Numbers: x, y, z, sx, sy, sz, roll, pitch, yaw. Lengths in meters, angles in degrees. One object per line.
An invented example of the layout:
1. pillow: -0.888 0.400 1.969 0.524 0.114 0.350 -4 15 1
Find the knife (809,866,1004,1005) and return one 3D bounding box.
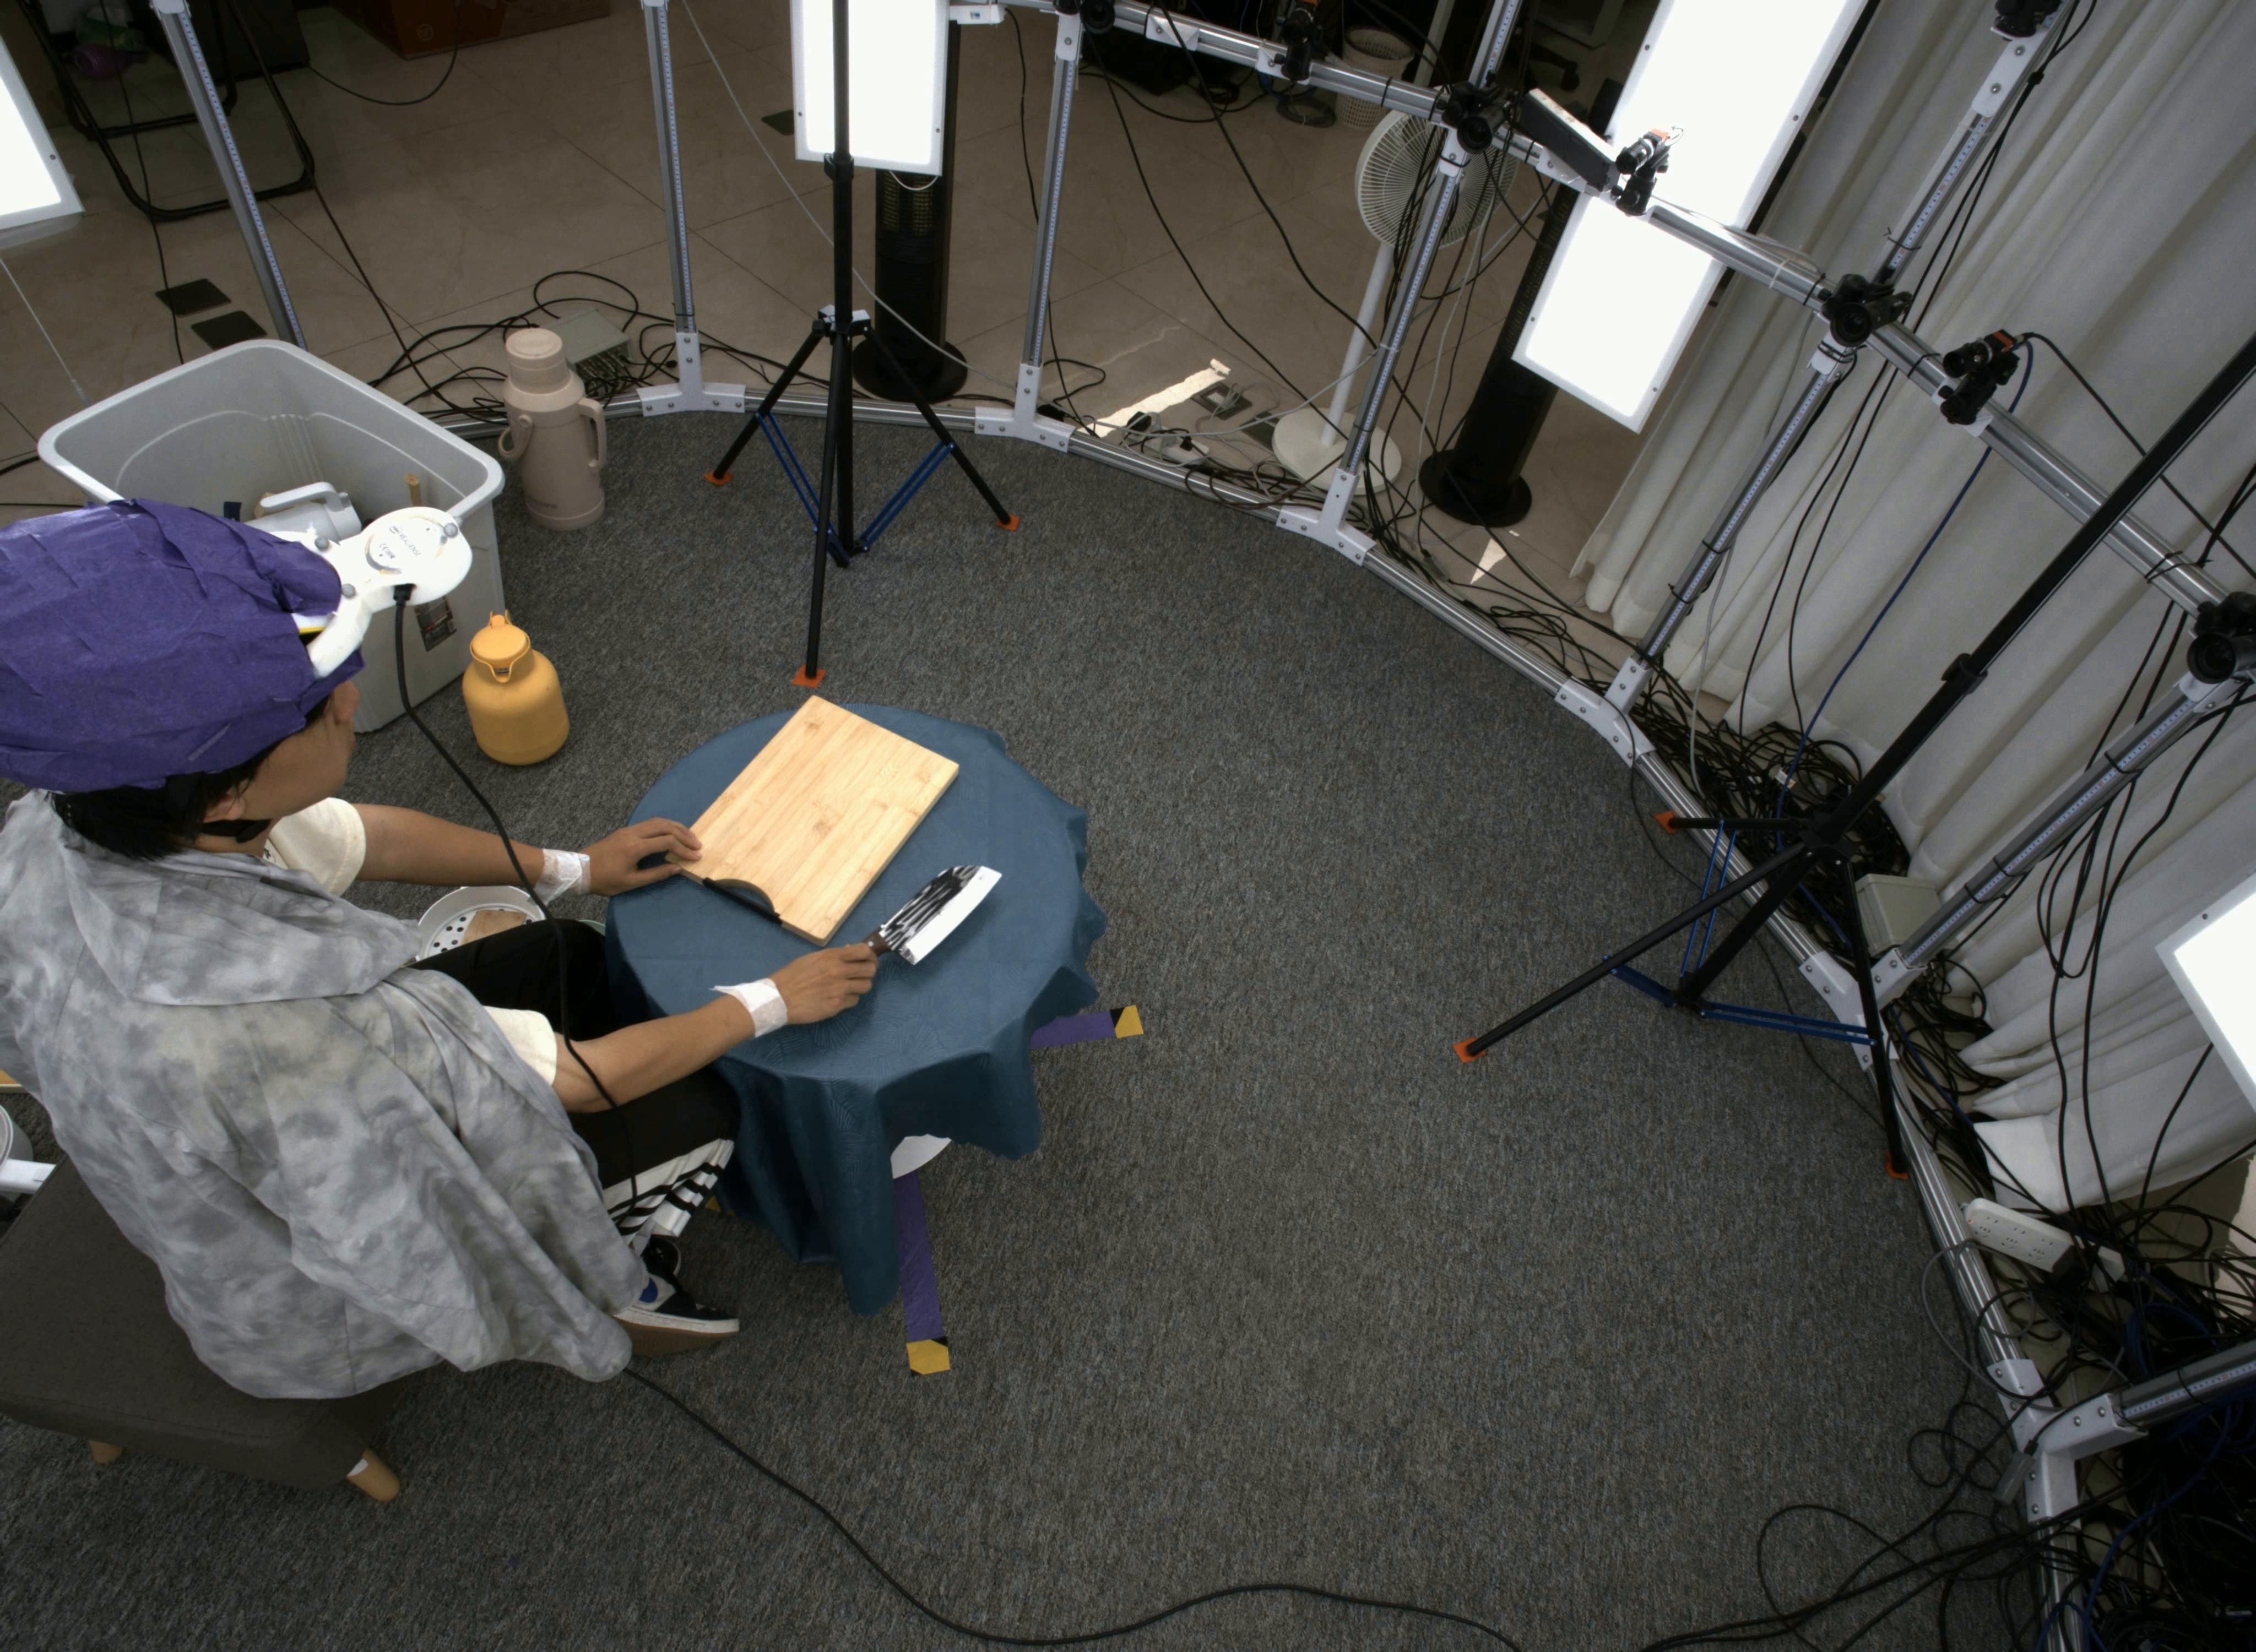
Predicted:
1. knife: -0.268 0.133 1.612 0.067 0.024 0.299 42 56 8

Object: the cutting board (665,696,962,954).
1. cutting board: -0.409 -0.012 1.729 0.247 0.024 0.346 26 52 6
